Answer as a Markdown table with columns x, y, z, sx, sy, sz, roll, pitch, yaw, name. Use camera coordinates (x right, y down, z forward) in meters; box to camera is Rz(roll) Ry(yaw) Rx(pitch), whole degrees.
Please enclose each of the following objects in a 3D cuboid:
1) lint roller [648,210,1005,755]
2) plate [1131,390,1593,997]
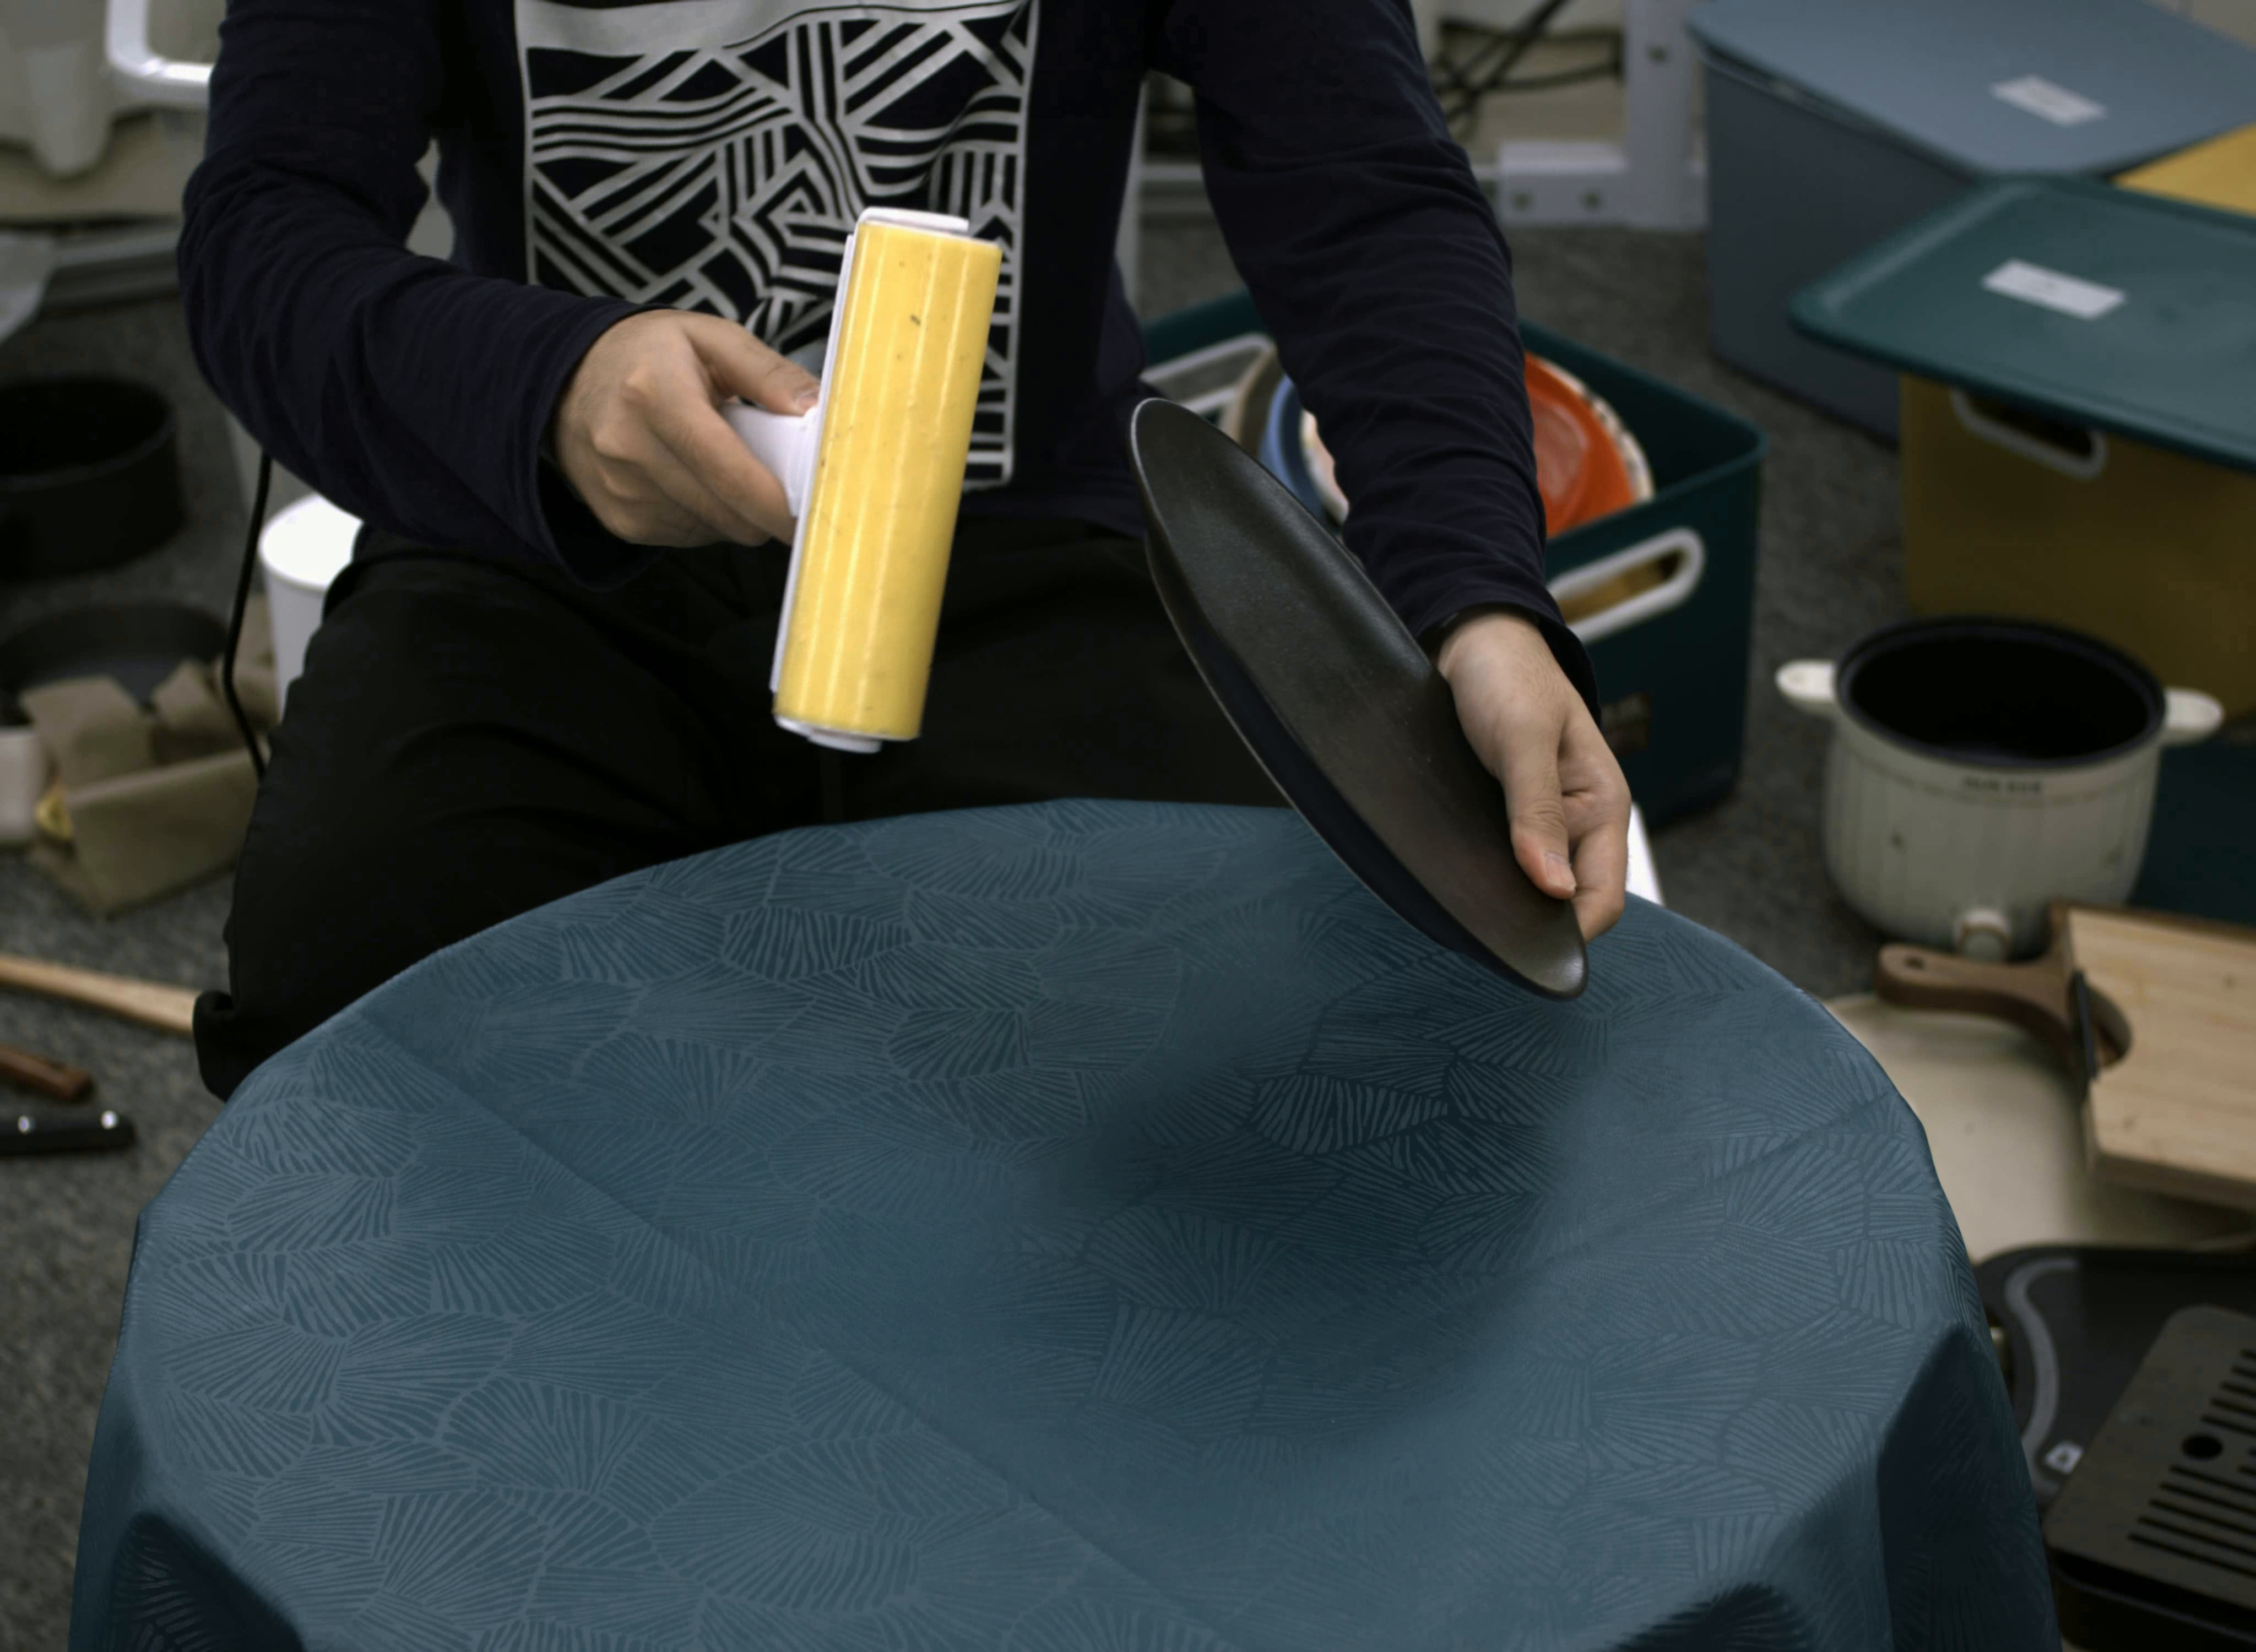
| x | y | z | sx | sy | sz | roll | pitch | yaw | name |
| --- | --- | --- | --- | --- | --- | --- | --- | --- | --- |
| -0.119 | -0.120 | 1.866 | 0.051 | 0.175 | 0.191 | 10 | 1 | -39 | lint roller |
| 0.071 | -0.039 | 1.855 | 0.023 | 0.243 | 0.248 | -37 | 23 | 15 | plate |
